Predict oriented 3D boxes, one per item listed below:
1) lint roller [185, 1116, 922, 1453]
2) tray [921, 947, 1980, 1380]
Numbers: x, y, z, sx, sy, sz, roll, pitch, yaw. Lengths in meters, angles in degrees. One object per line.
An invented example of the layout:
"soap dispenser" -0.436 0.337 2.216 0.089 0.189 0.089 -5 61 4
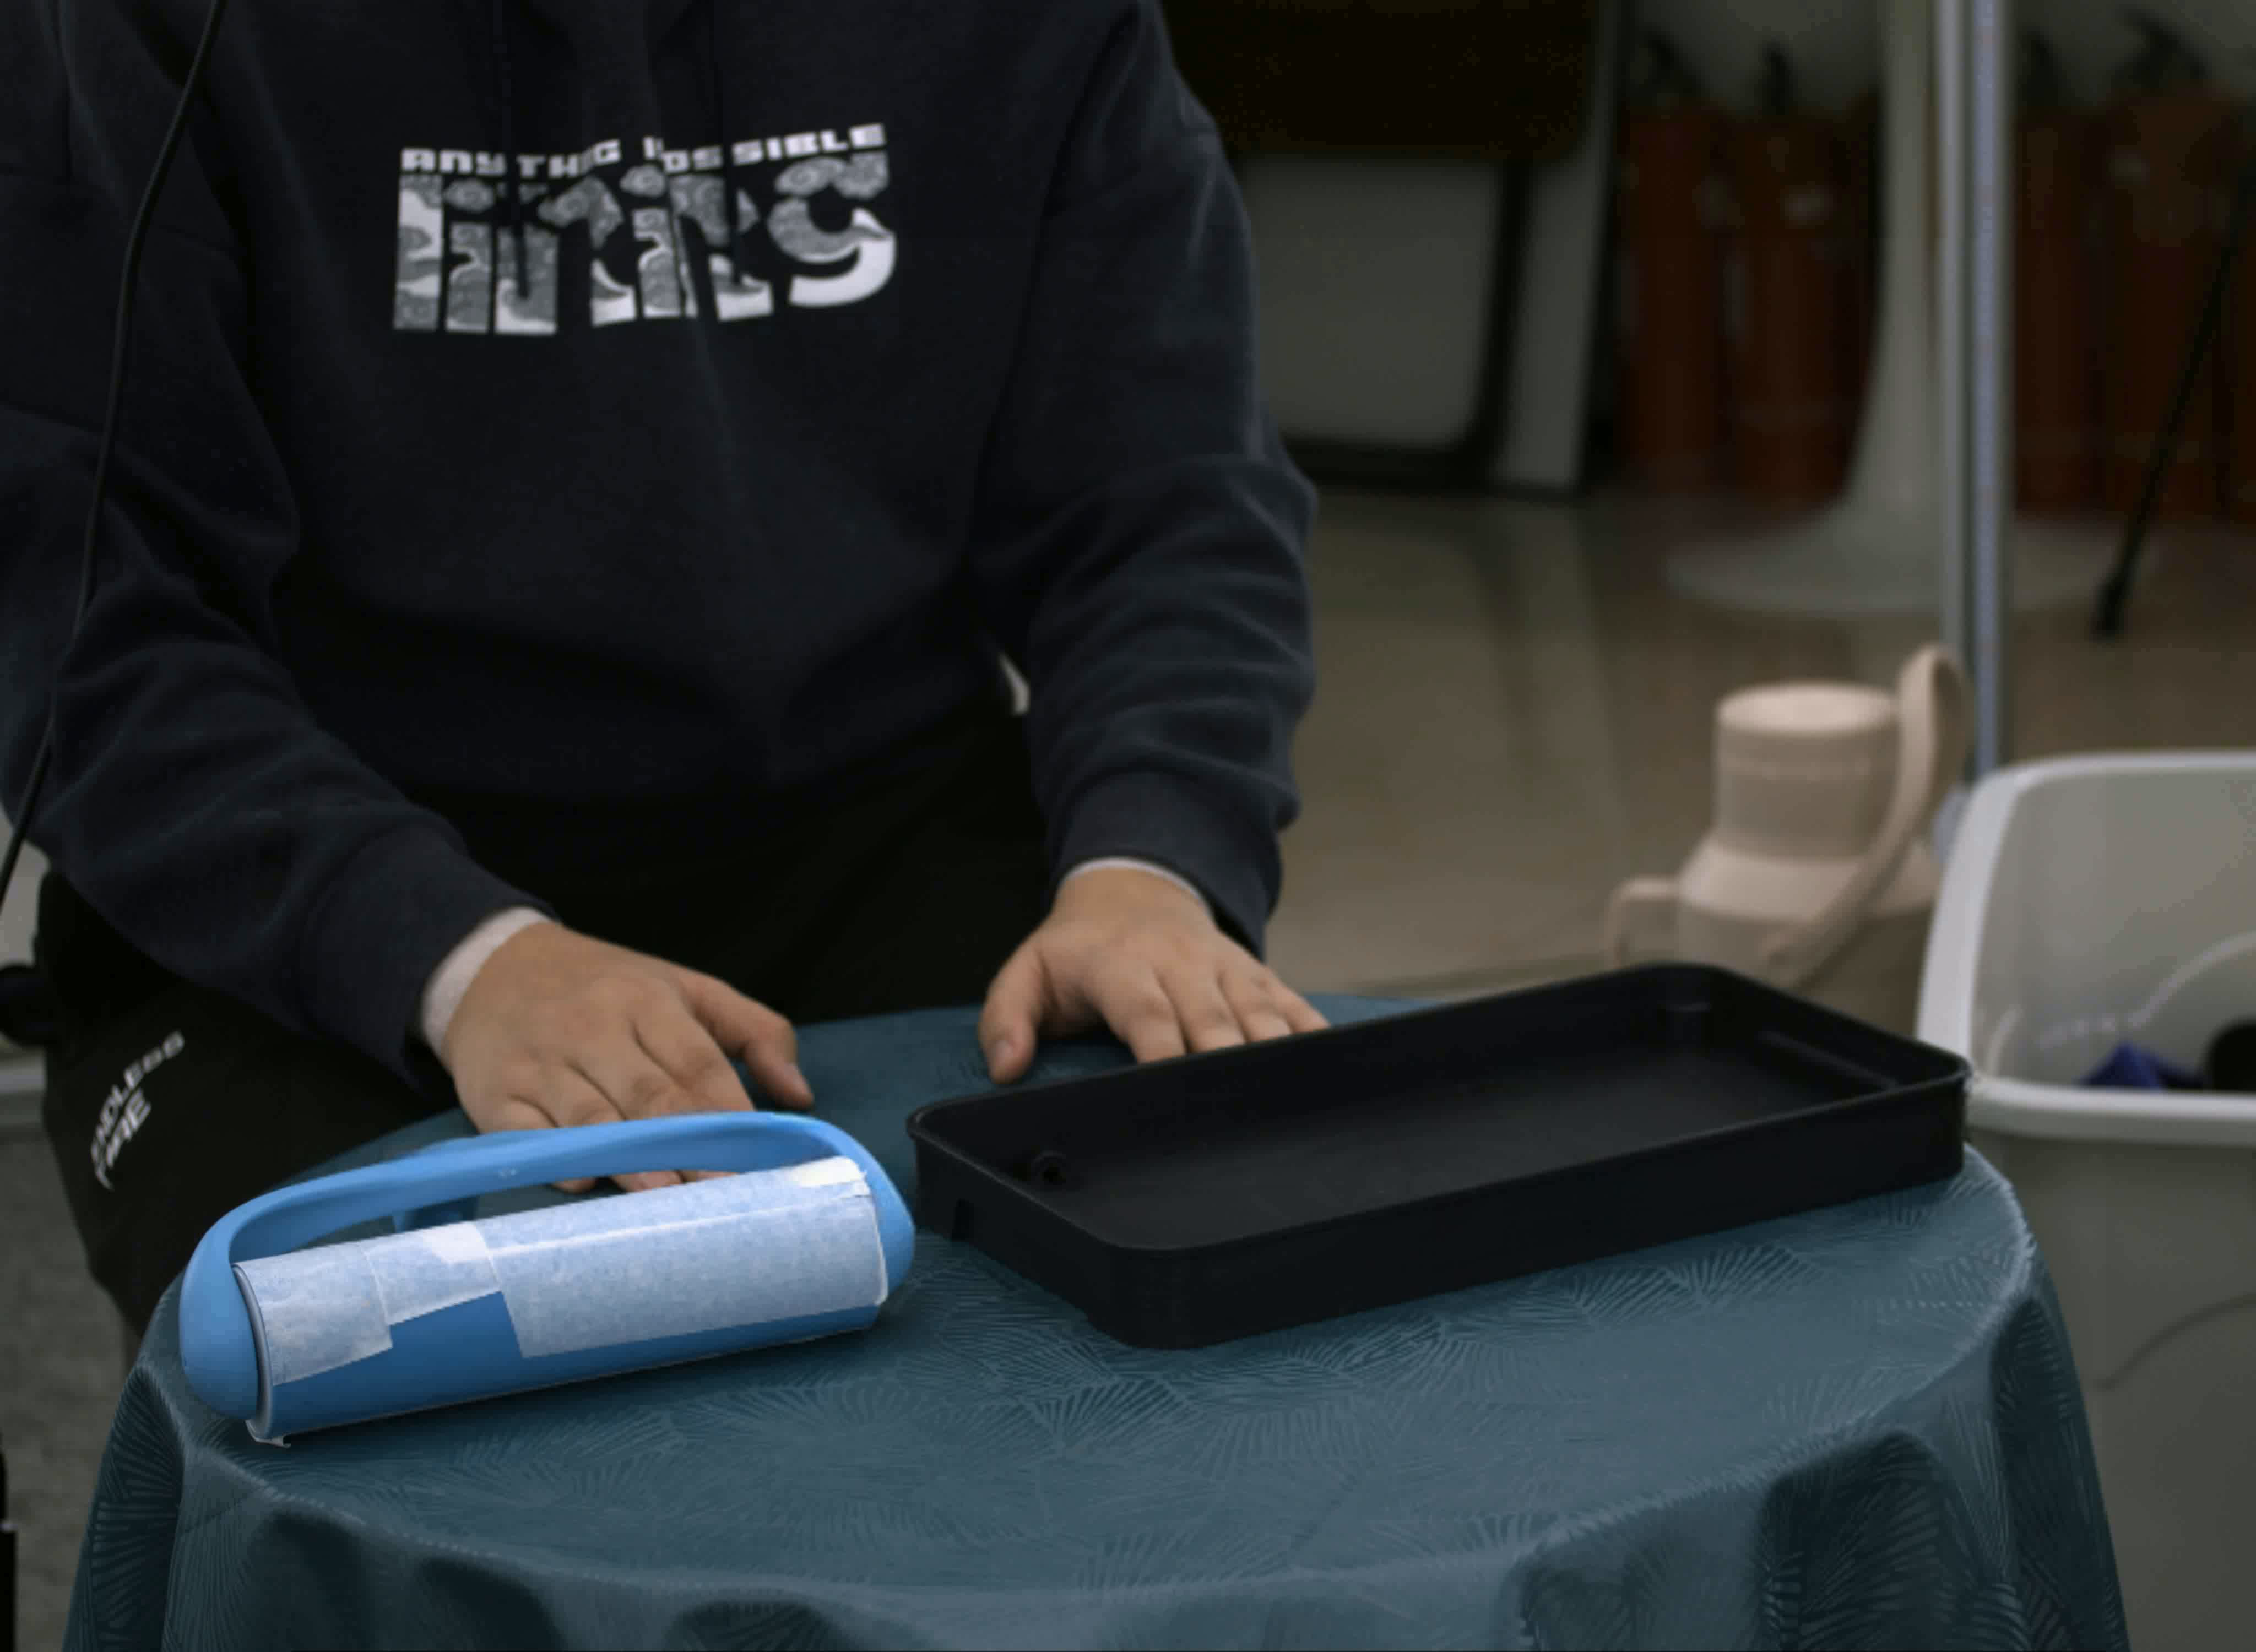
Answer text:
"lint roller" -0.193 0.129 1.673 0.224 0.068 0.182 -12 17 -21
"tray" 0.106 0.105 1.750 0.311 0.037 0.186 -13 16 -25
